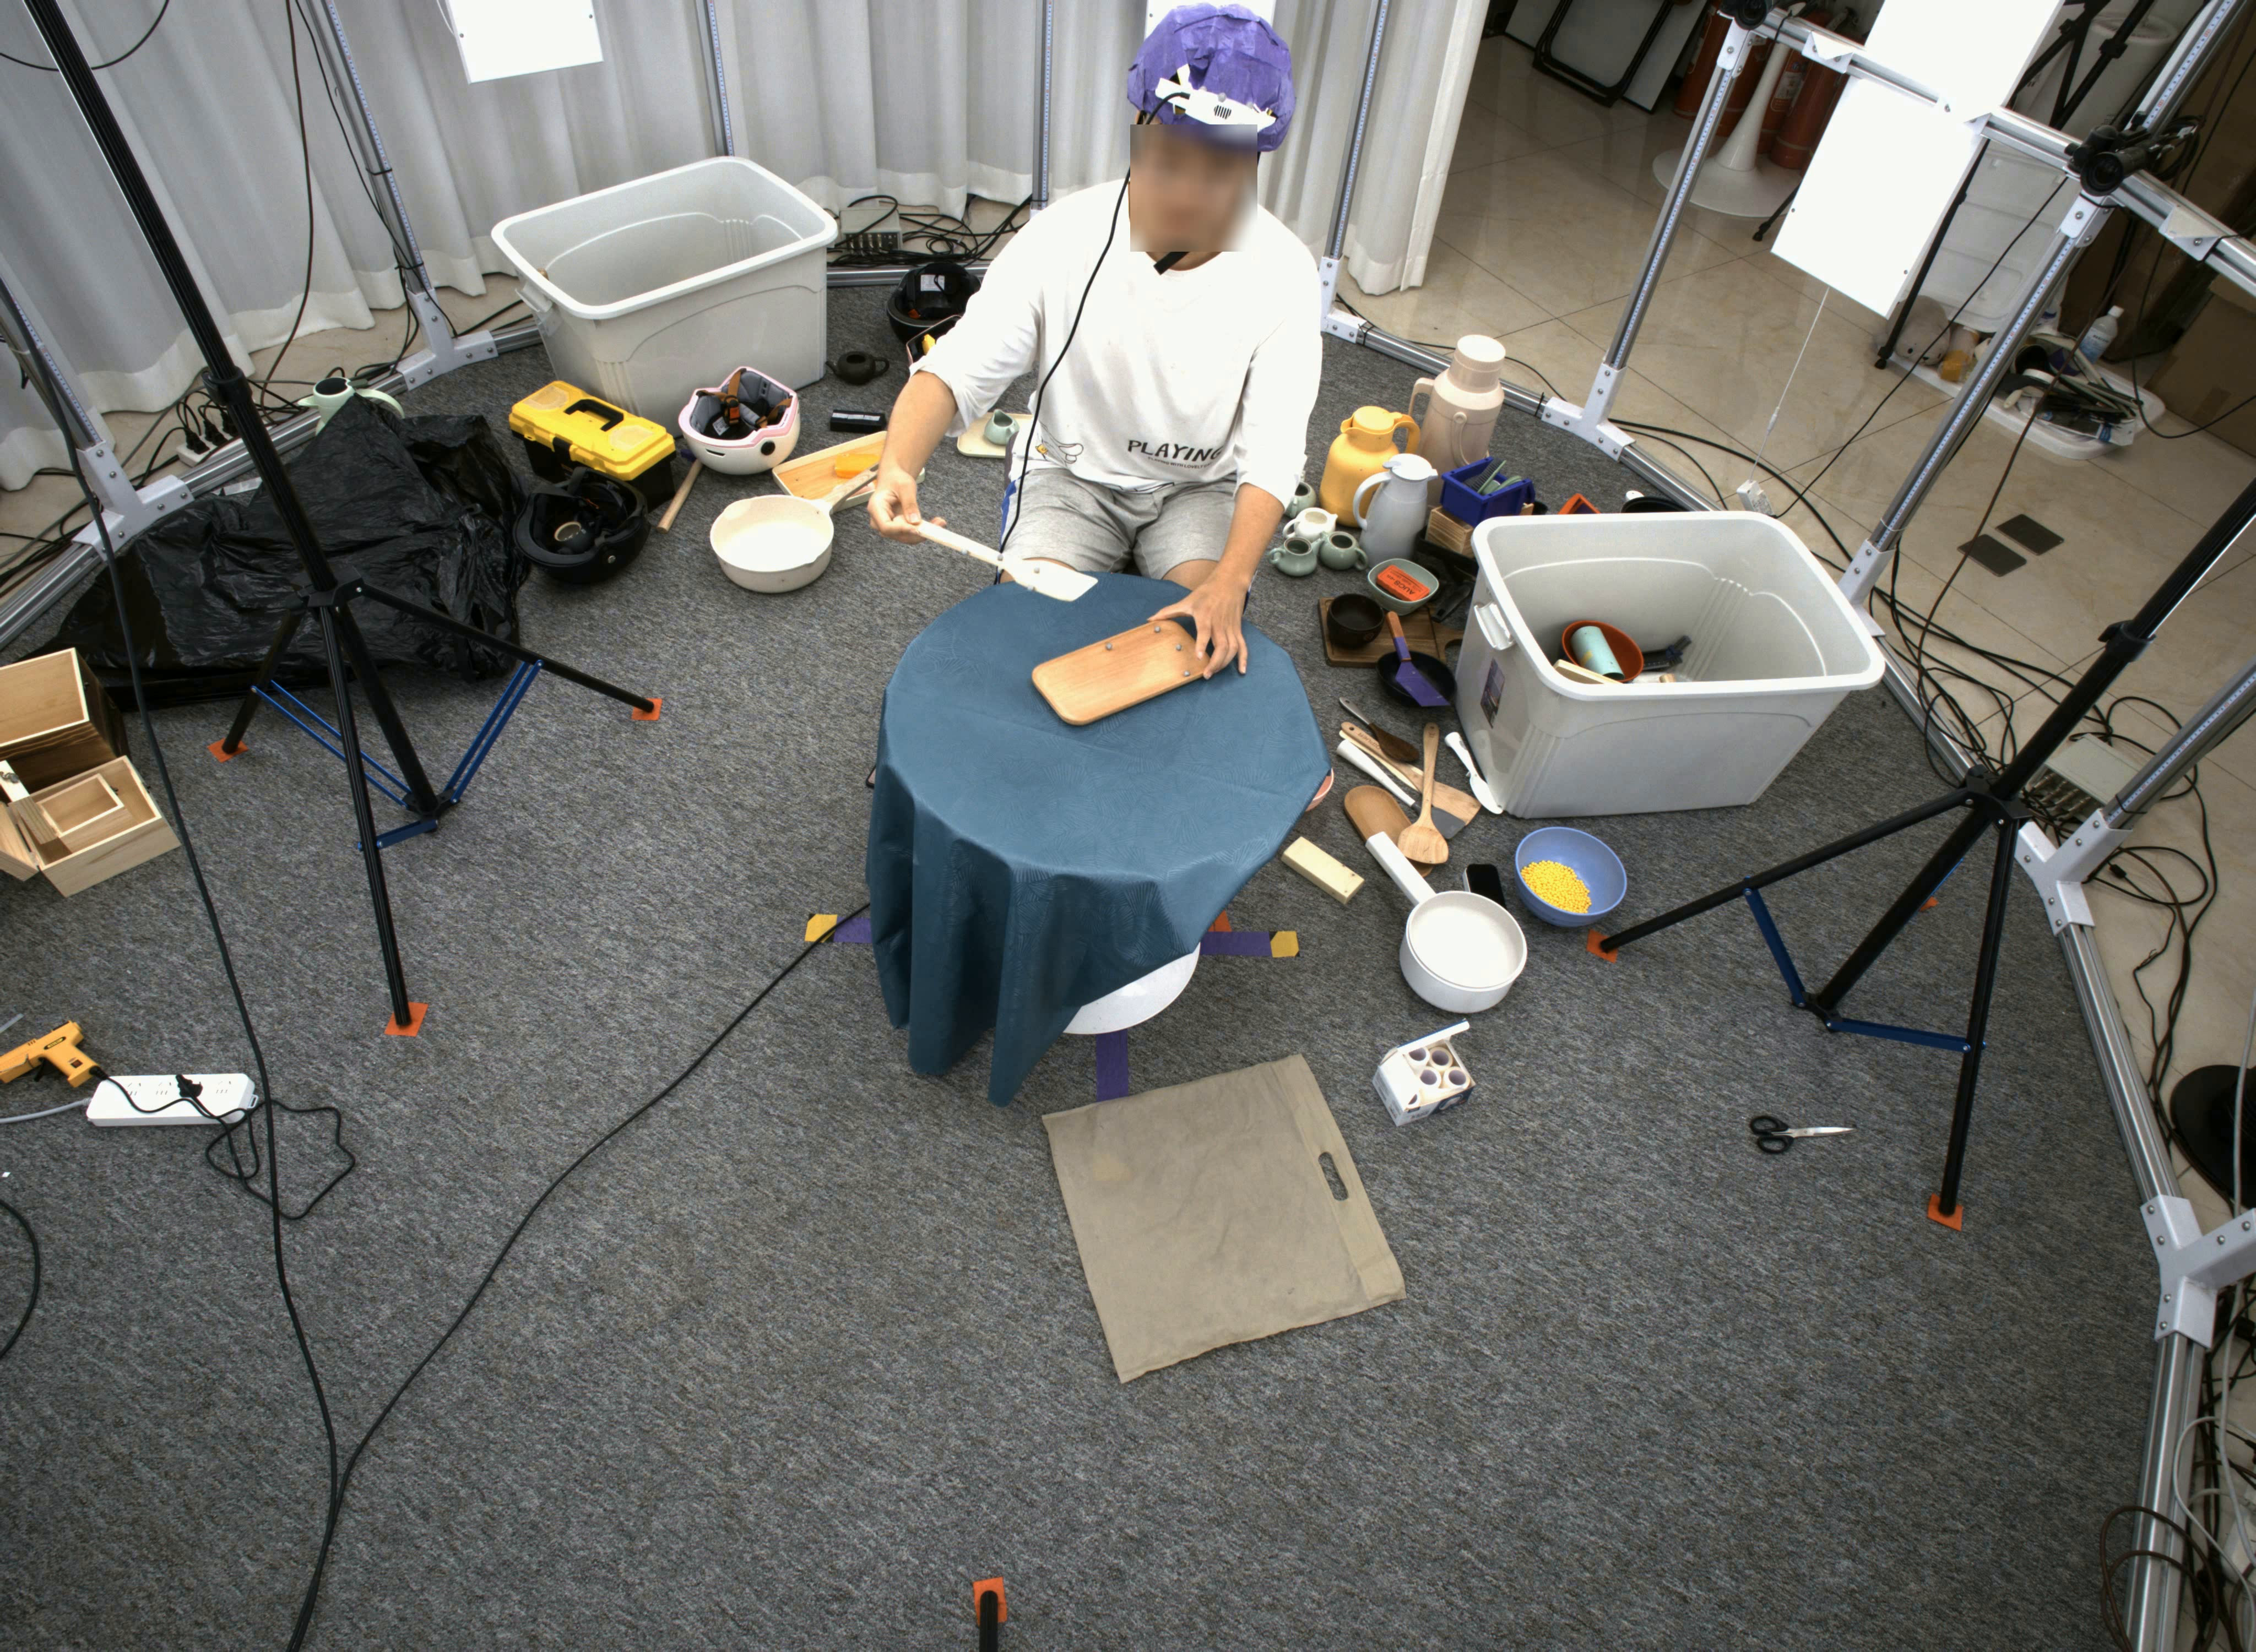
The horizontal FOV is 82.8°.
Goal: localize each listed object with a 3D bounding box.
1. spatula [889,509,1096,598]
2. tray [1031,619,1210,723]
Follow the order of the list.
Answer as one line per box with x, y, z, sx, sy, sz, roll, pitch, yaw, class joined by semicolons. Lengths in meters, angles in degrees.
-0.184;-0.357;1.672;0.295;0.010;0.073;24;41;17;spatula
-0.010;-0.224;1.849;0.251;0.022;0.133;-22;52;-21;tray
